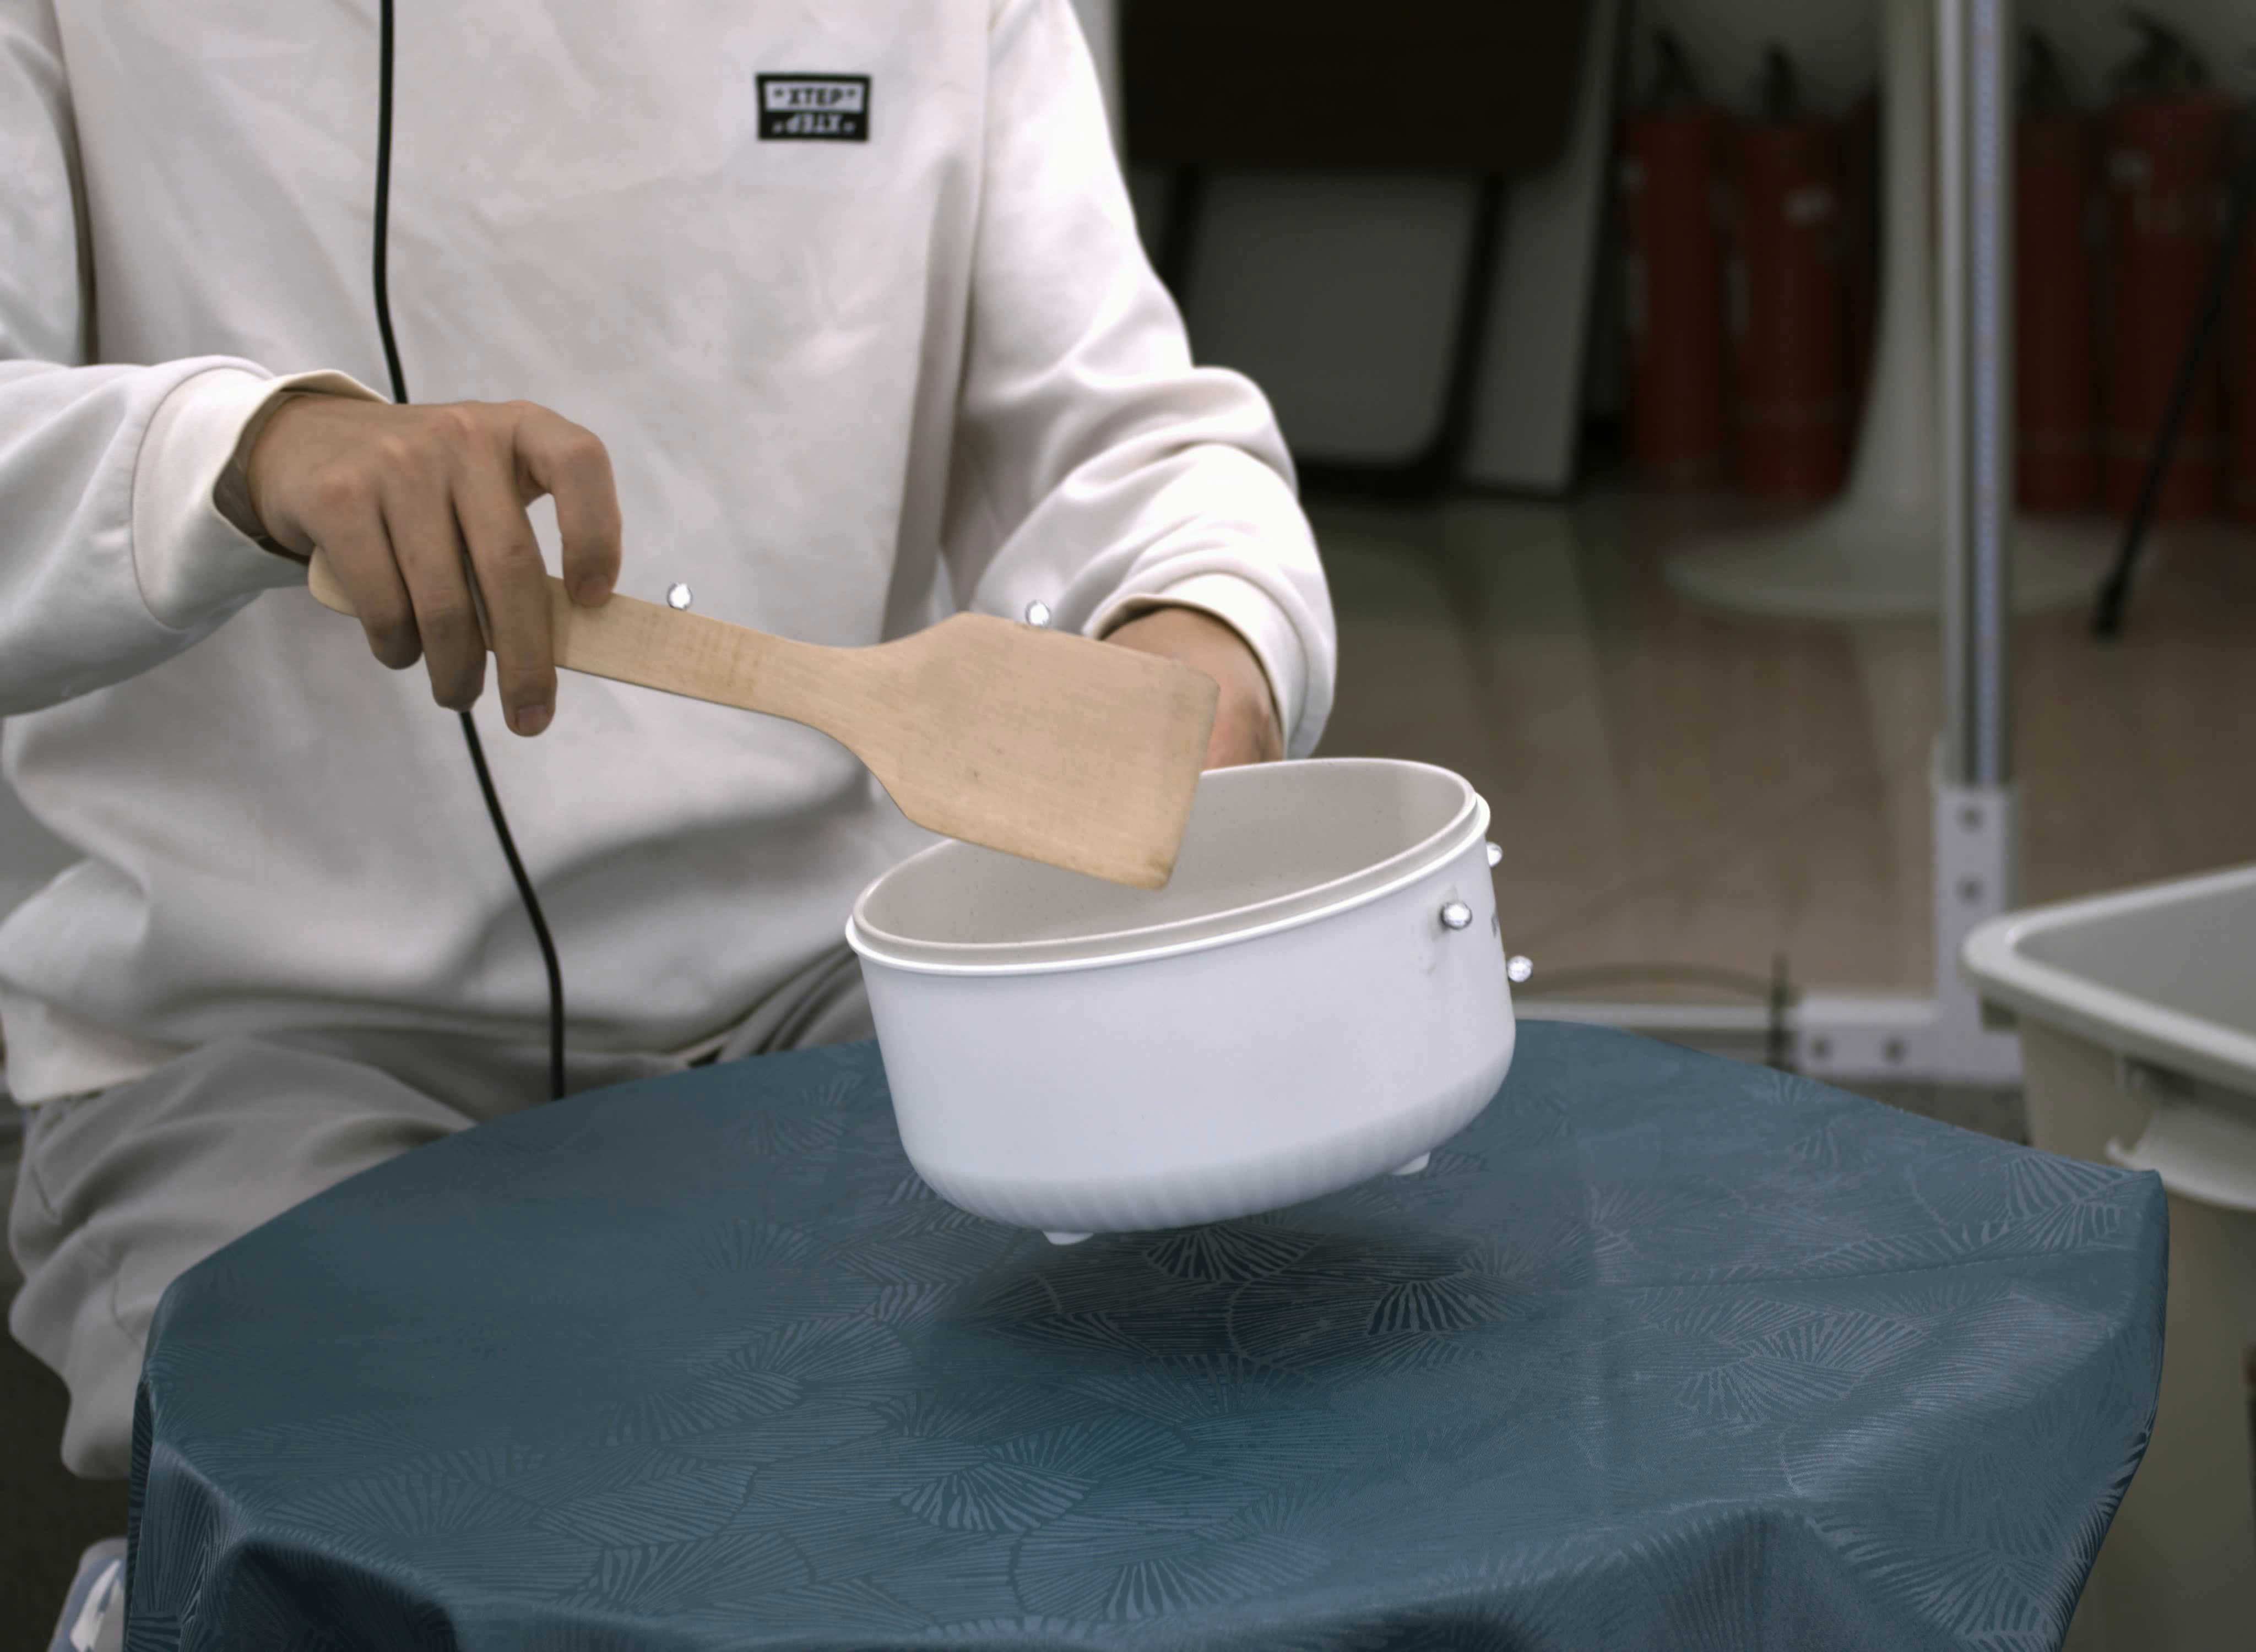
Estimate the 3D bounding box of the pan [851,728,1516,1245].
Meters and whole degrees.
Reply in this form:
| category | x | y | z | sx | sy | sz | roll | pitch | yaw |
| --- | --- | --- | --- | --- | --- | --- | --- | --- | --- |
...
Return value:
| category | x | y | z | sx | sy | sz | roll | pitch | yaw |
| --- | --- | --- | --- | --- | --- | --- | --- | --- | --- |
| pan | 0.015 | 0.039 | 1.727 | 0.198 | 0.103 | 0.356 | -12 | 12 | -2 |

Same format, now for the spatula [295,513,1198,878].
| category | x | y | z | sx | sy | sz | roll | pitch | yaw |
| --- | --- | --- | --- | --- | --- | --- | --- | --- | --- |
| spatula | -0.122 | -0.053 | 1.653 | 0.292 | 0.073 | 0.010 | 14 | -4 | 15 |
